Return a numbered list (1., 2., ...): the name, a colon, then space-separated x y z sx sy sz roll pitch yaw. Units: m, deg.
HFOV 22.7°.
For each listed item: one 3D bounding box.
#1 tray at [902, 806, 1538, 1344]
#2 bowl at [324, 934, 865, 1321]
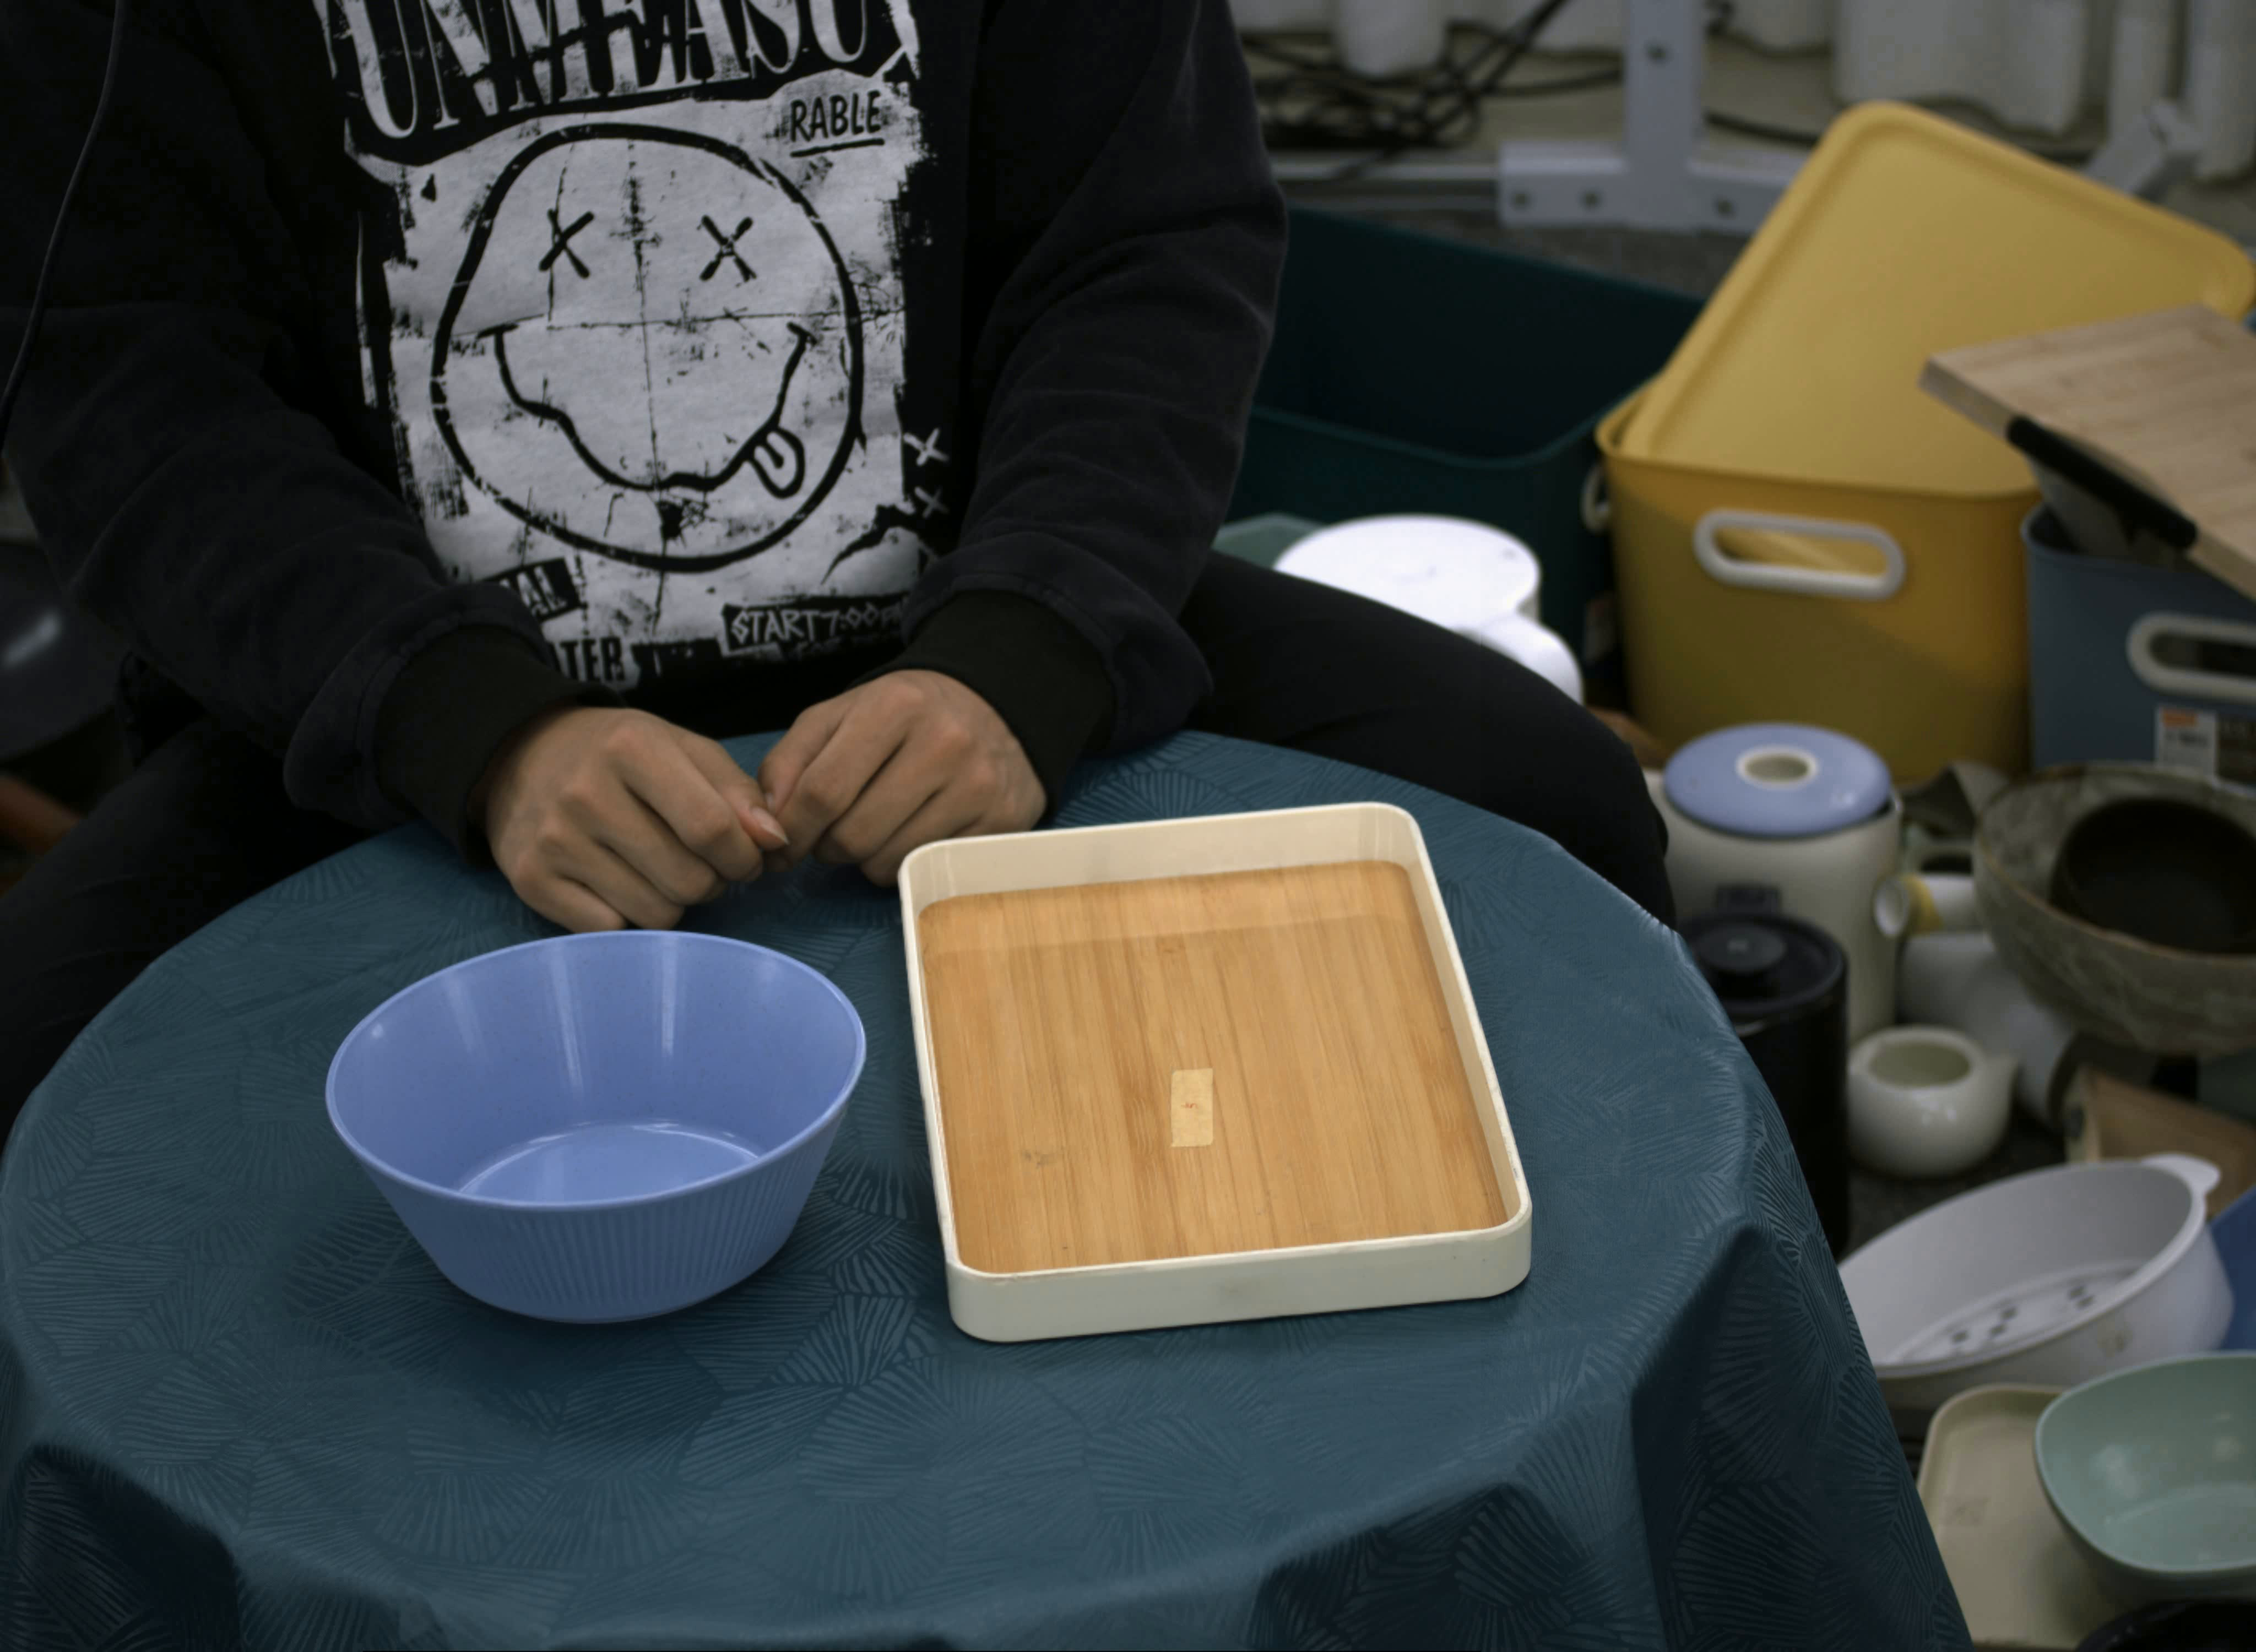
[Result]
1. tray: 0.025 0.079 1.913 0.191 0.027 0.304 -5 27 -3
2. bowl: -0.172 0.105 1.834 0.175 0.069 0.179 -1 27 1
